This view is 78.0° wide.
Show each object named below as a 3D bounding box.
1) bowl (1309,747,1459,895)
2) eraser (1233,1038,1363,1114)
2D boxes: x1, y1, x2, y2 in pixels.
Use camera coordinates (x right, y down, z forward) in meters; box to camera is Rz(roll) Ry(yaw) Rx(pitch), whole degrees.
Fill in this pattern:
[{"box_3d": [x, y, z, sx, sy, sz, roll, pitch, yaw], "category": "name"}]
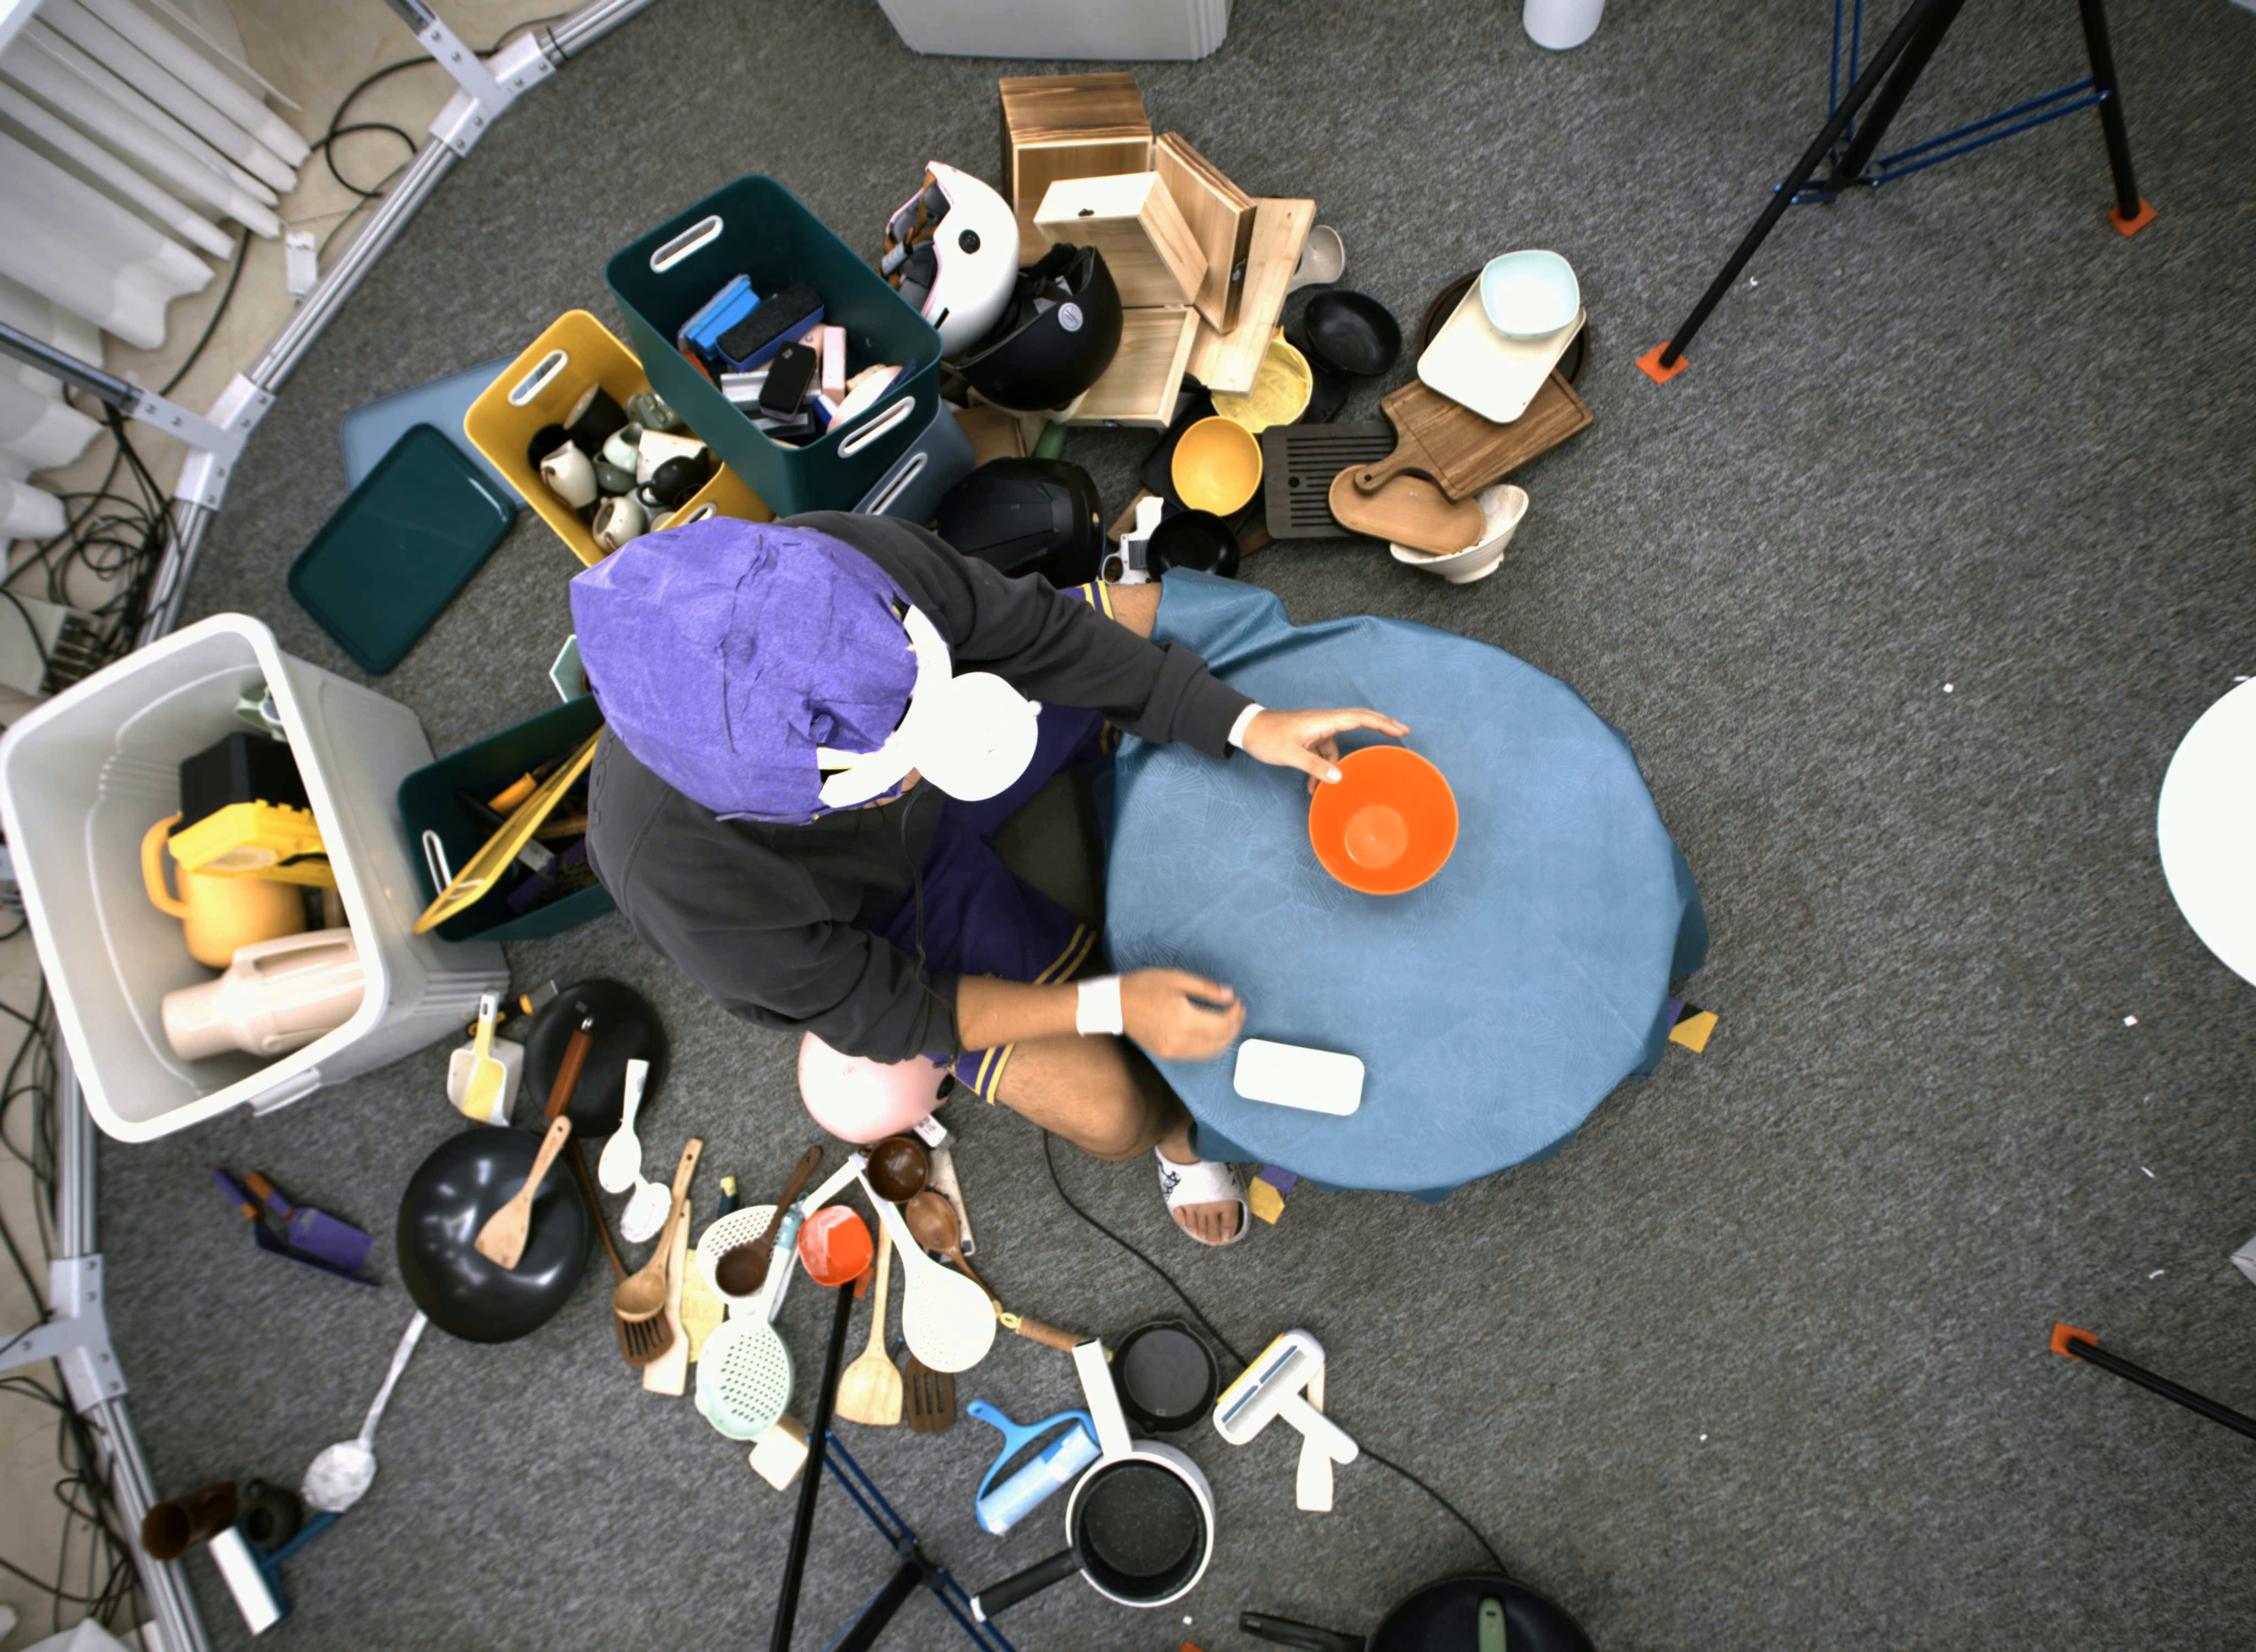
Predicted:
[{"box_3d": [0.261, -0.002, 1.415, 0.148, 0.104, 0.147, -1, 87, 11], "category": "bowl"}, {"box_3d": [0.178, 0.258, 1.449, 0.131, 0.034, 0.063, 10, 87, 9], "category": "eraser"}]
